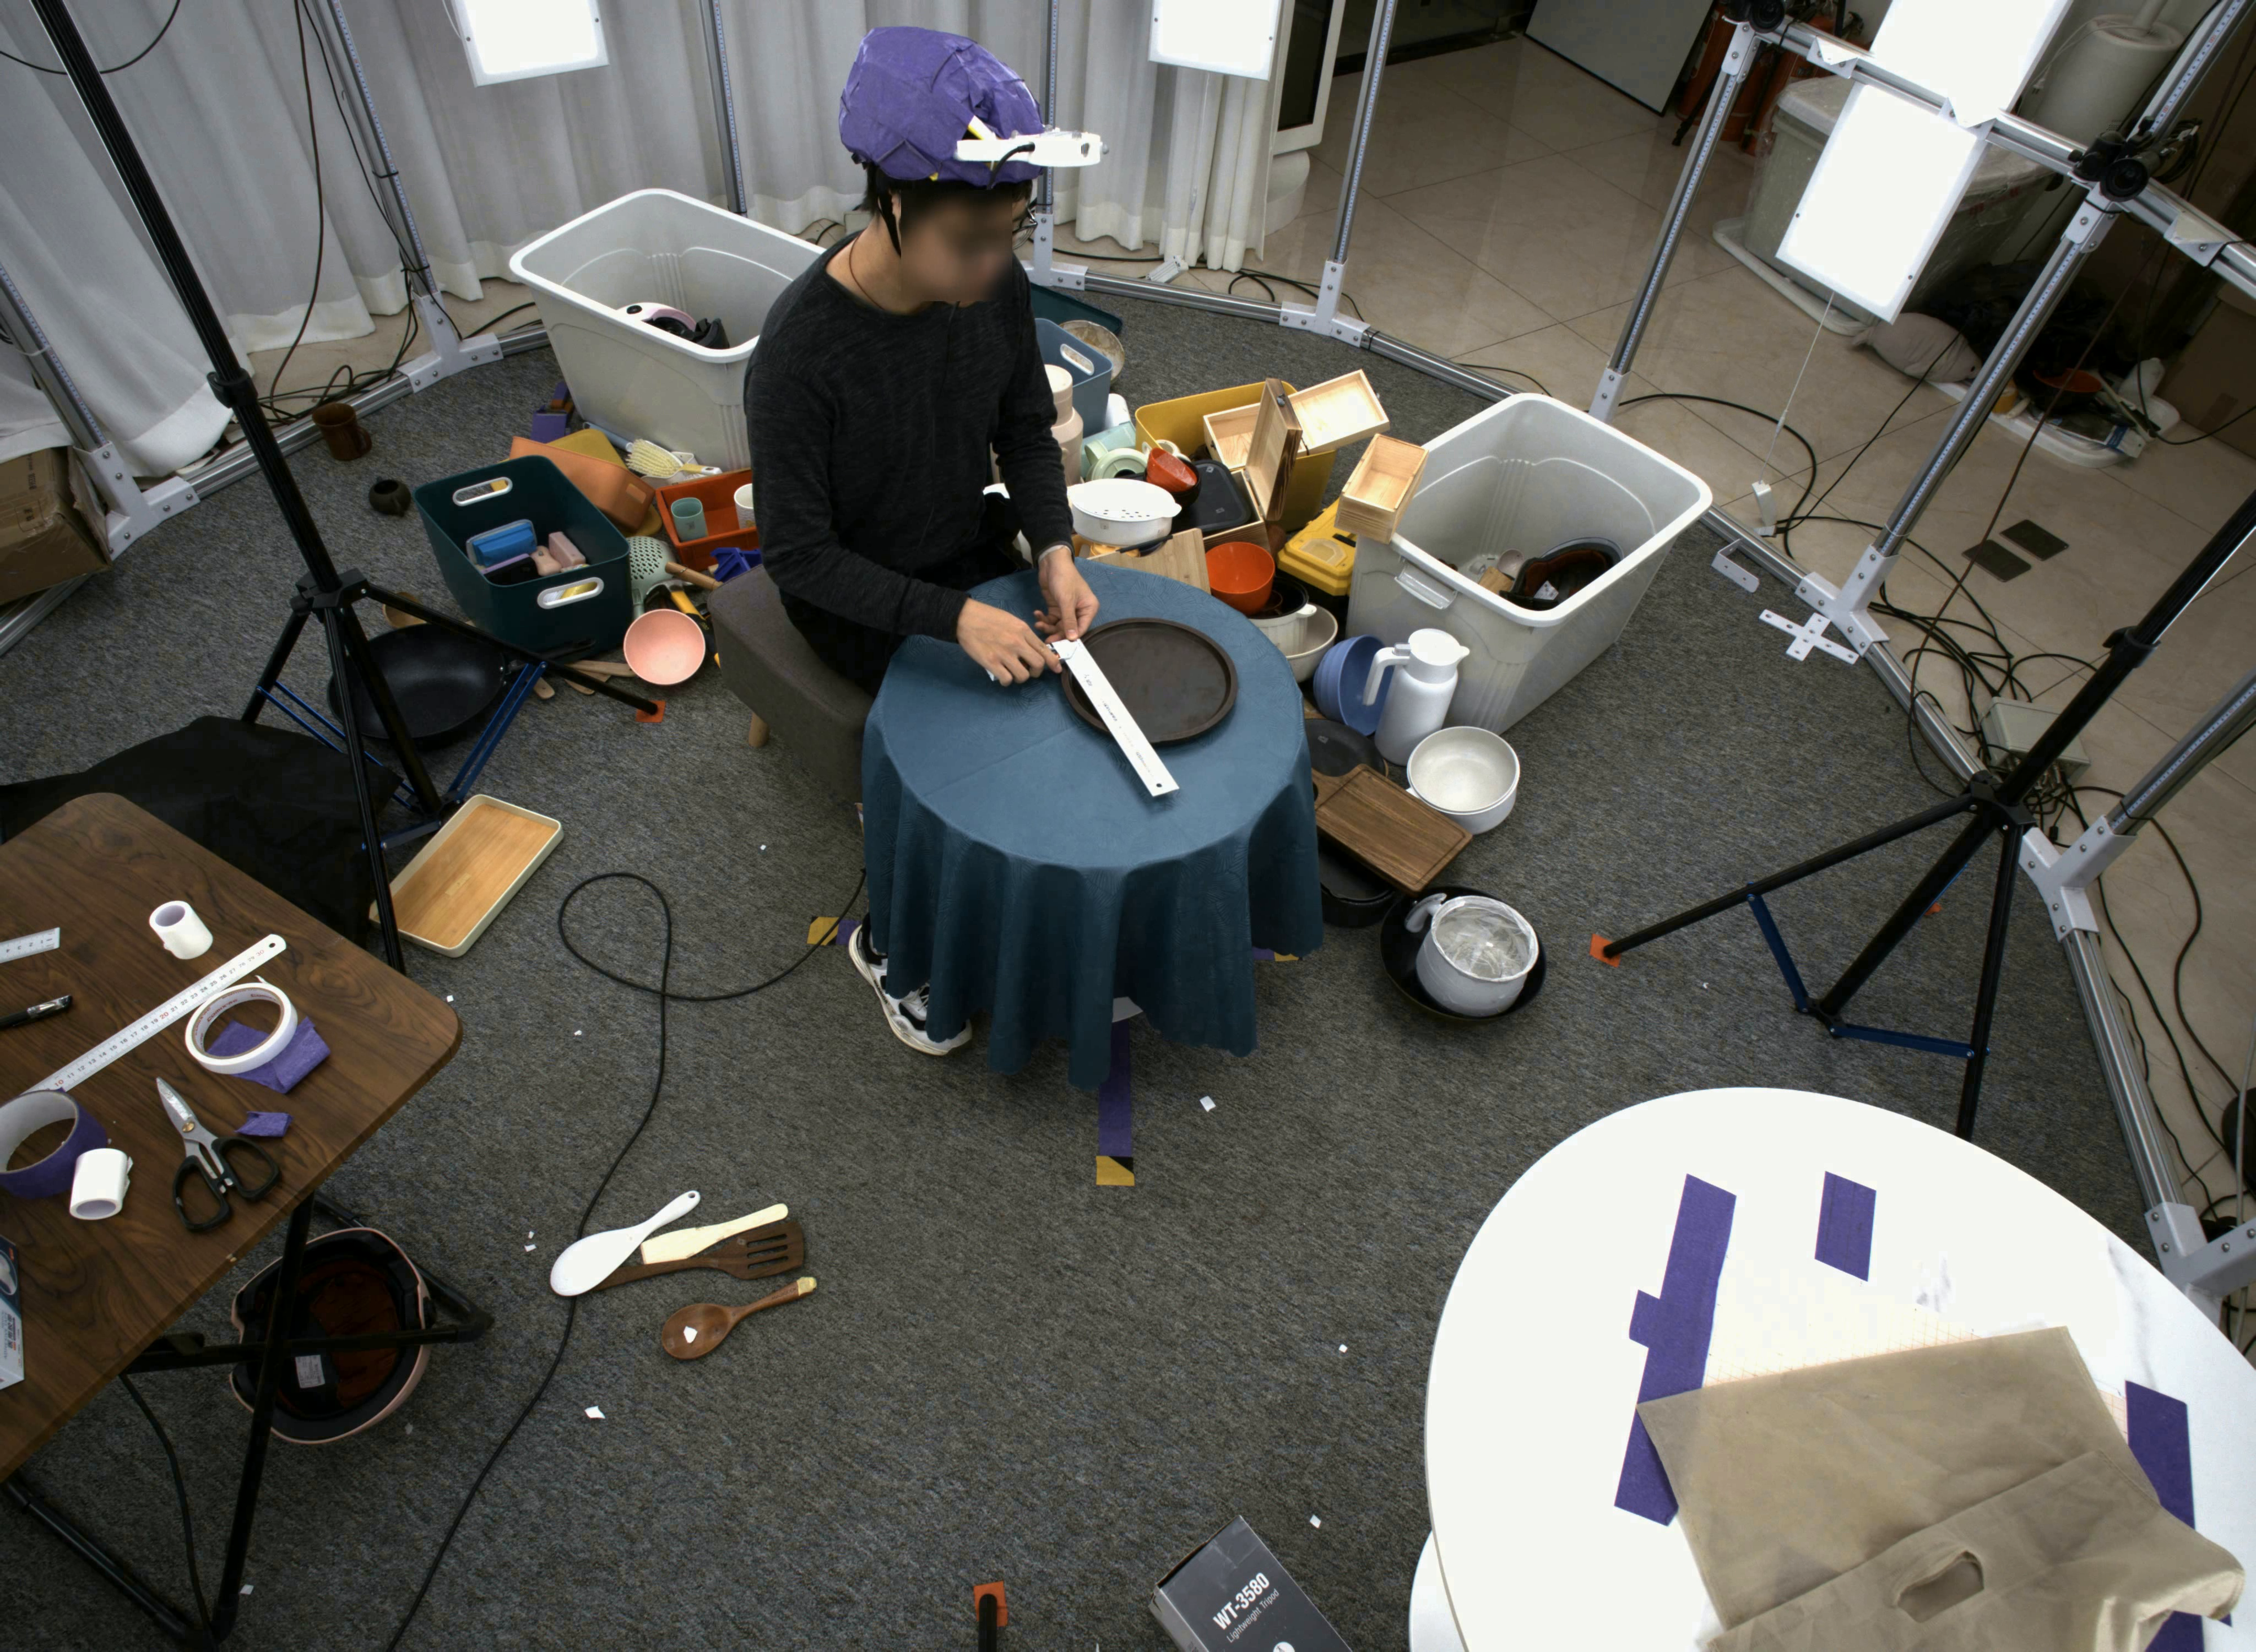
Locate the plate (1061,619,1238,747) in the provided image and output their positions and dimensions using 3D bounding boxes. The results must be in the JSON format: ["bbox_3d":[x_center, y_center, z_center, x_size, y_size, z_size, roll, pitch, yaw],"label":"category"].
[{"bbox_3d":[0.031,-0.207,1.836,0.254,0.028,0.261,2,50,-3],"label":"plate"}]

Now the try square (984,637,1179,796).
[{"bbox_3d":[-0.068,-0.142,1.754,0.152,0.015,0.320,-17,53,-21],"label":"try square"}]
